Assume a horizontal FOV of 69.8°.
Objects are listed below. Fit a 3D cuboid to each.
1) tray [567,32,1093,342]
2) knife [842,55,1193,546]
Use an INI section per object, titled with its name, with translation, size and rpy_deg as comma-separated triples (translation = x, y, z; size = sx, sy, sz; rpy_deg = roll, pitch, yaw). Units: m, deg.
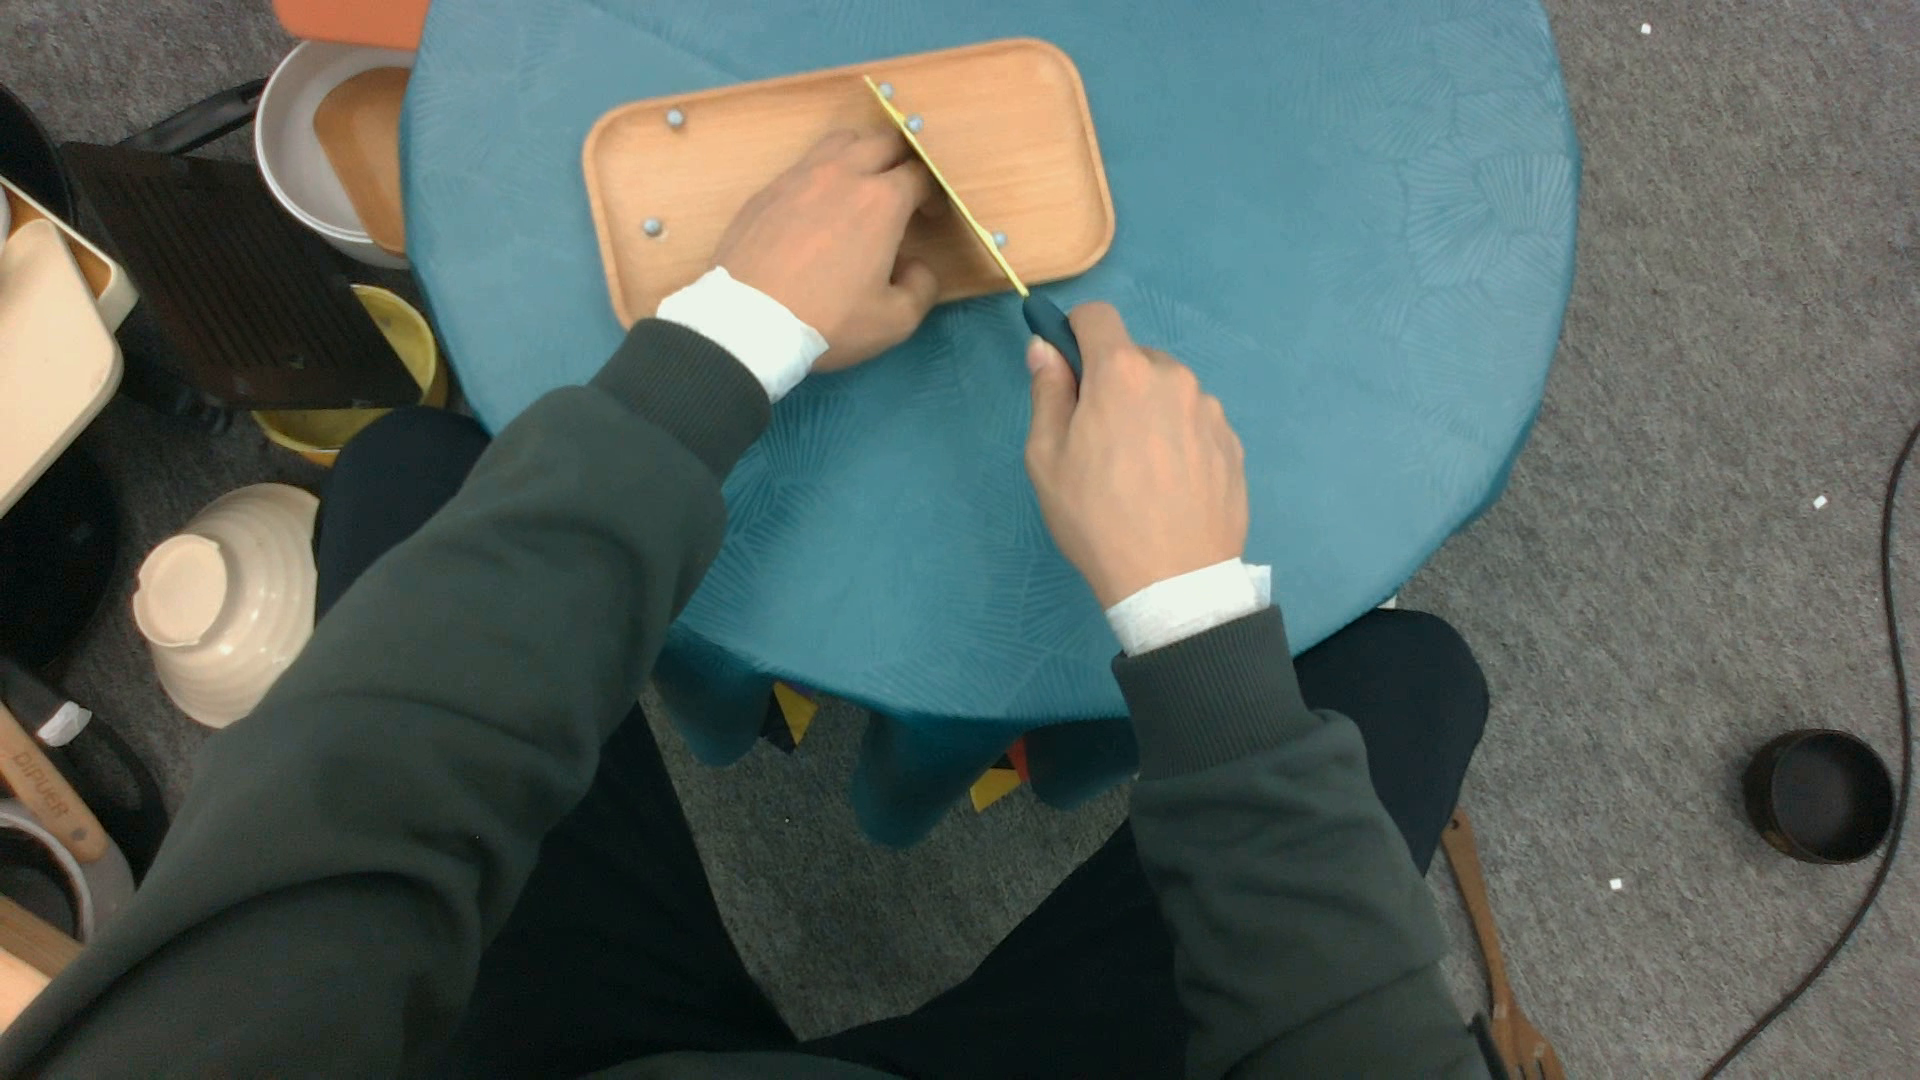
[tray]
translation = -0.062, -0.178, 0.689
size = 0.251, 0.023, 0.130
rpy_deg = -12, 85, -11
[knife]
translation = 0.020, -0.117, 0.637
size = 0.027, 0.081, 0.290
rpy_deg = -35, 76, 9
